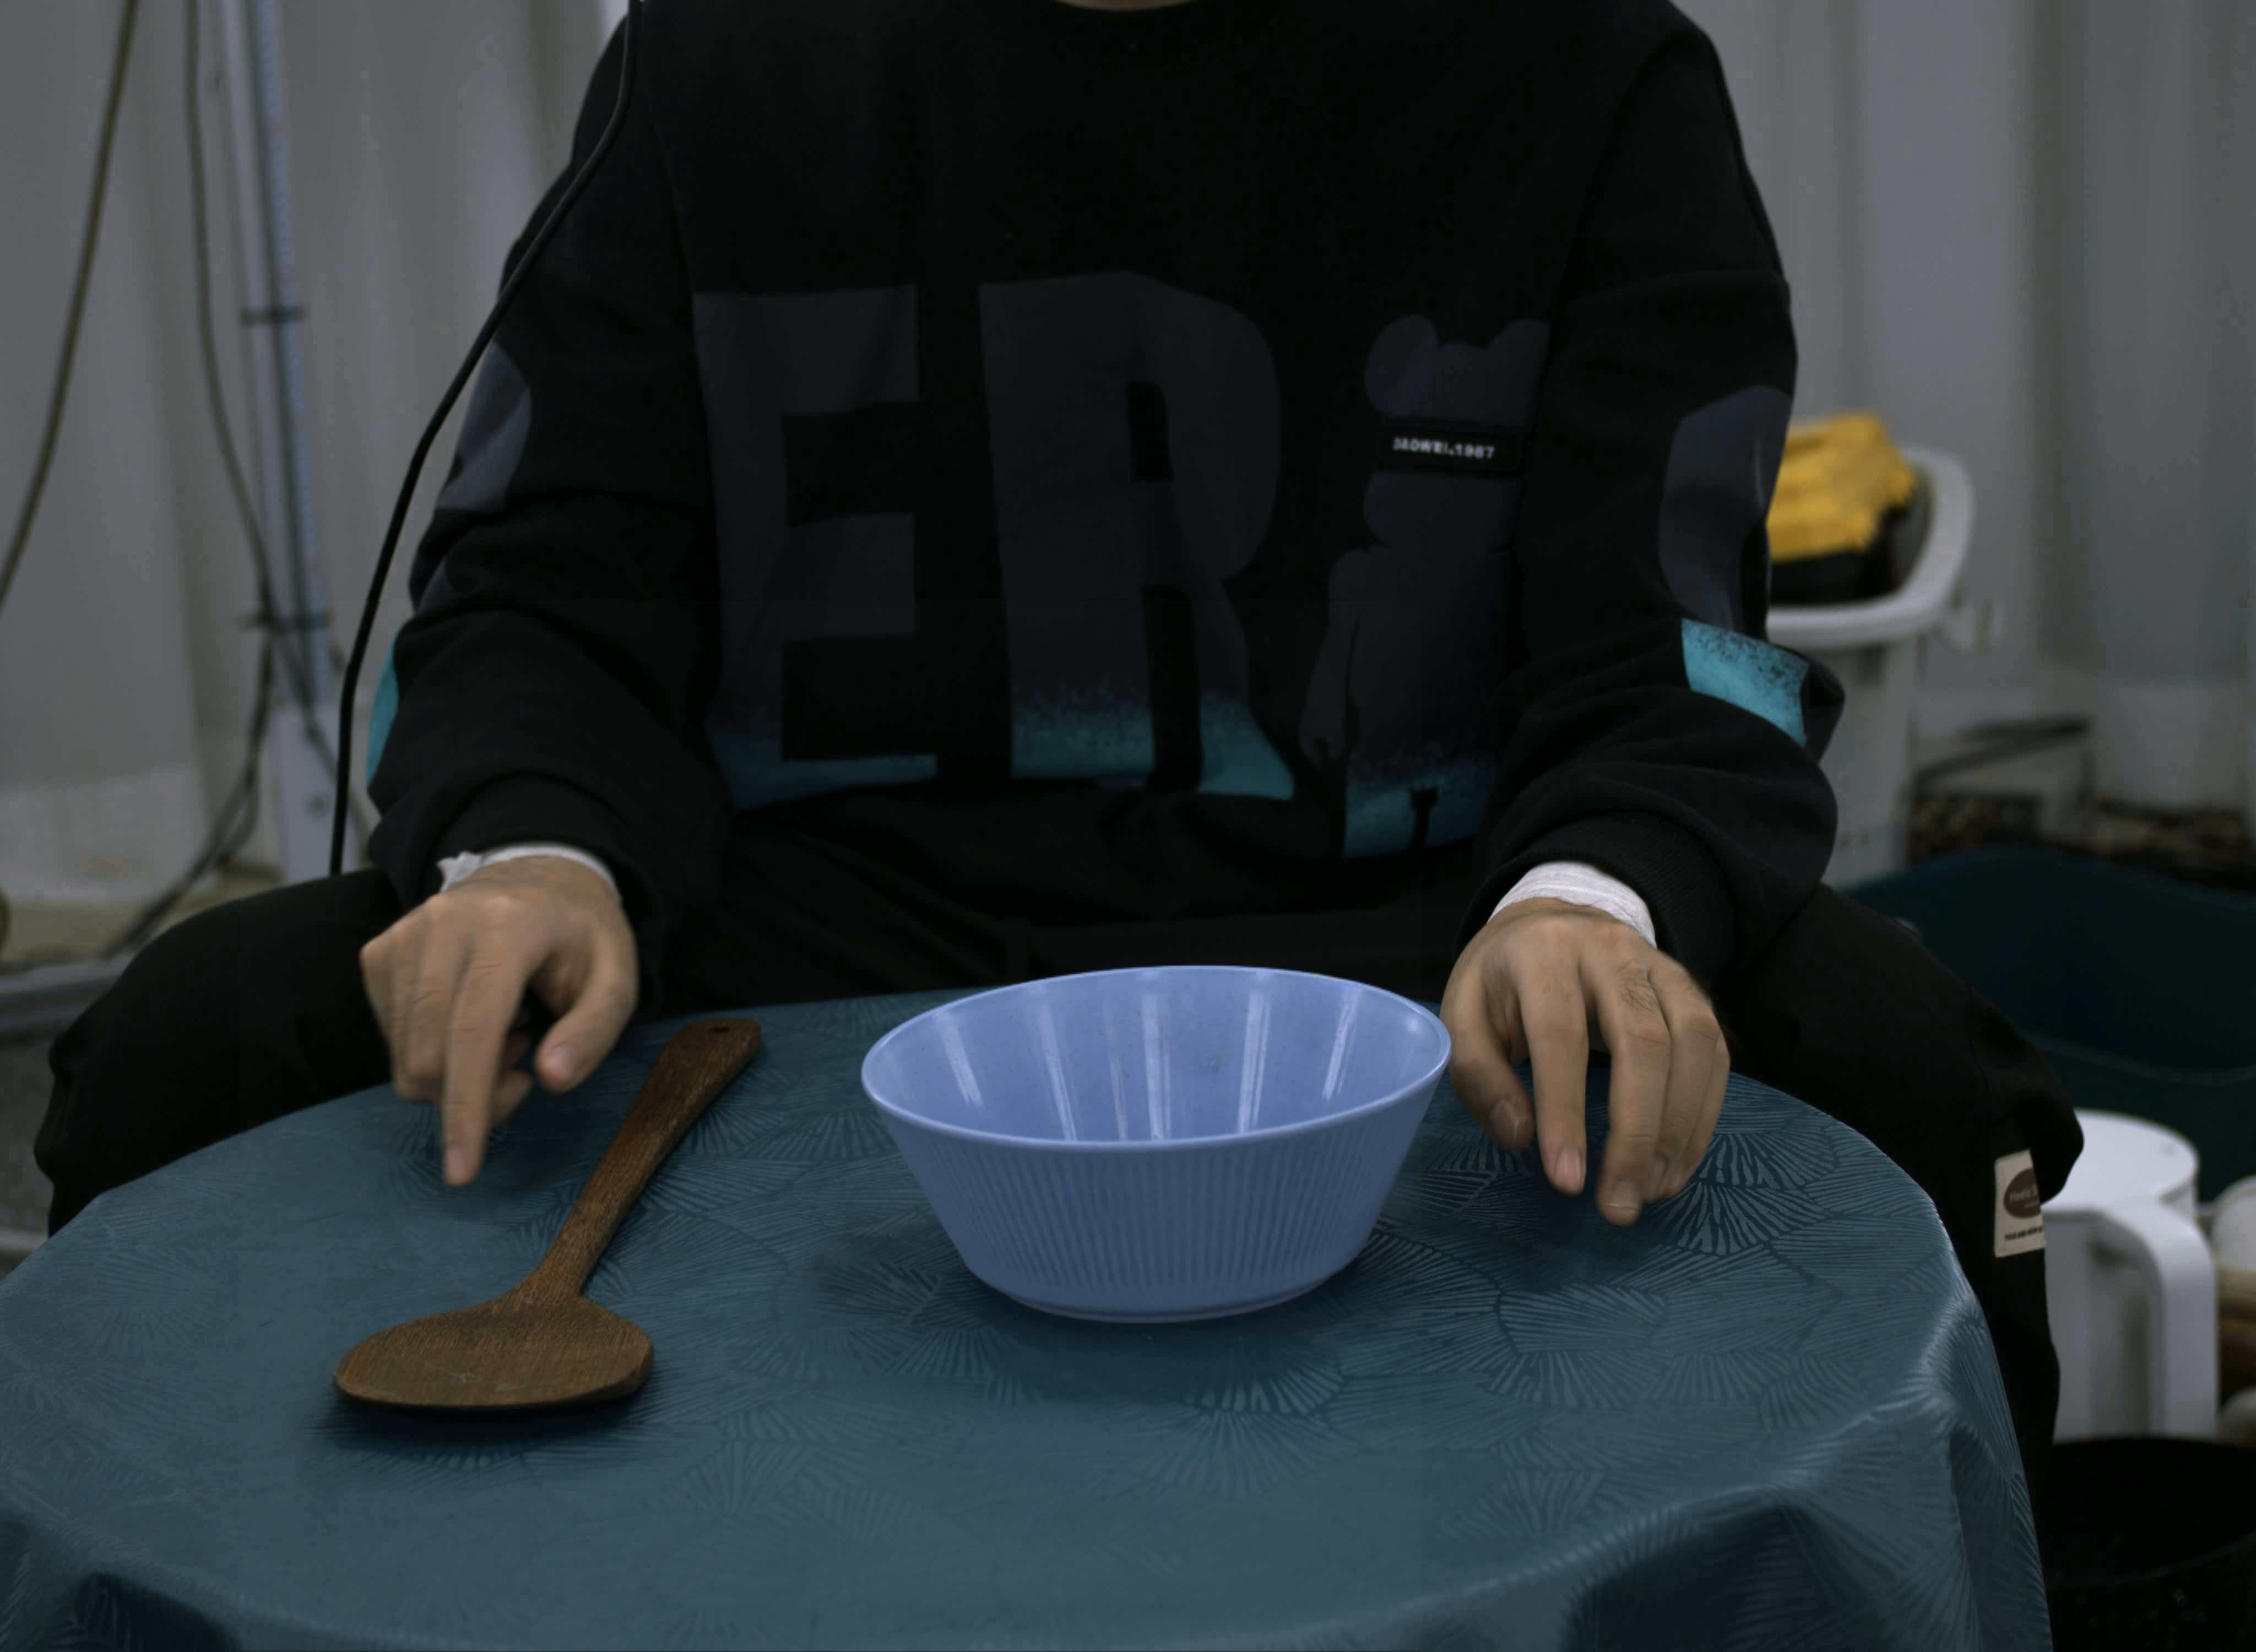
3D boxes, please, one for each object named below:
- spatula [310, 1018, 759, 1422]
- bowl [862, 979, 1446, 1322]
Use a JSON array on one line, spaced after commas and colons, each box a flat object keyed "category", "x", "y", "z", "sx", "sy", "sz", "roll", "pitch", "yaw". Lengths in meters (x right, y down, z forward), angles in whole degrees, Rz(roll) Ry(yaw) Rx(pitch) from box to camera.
[{"category": "spatula", "x": -0.164, "y": 0.117, "z": 1.711, "sx": 0.096, "sy": 0.016, "sz": 0.388, "roll": 0, "pitch": 15, "yaw": 8}, {"category": "bowl", "x": 0.009, "y": 0.099, "z": 1.638, "sx": 0.175, "sy": 0.070, "sz": 0.177, "roll": -2, "pitch": 13, "yaw": 0}]
